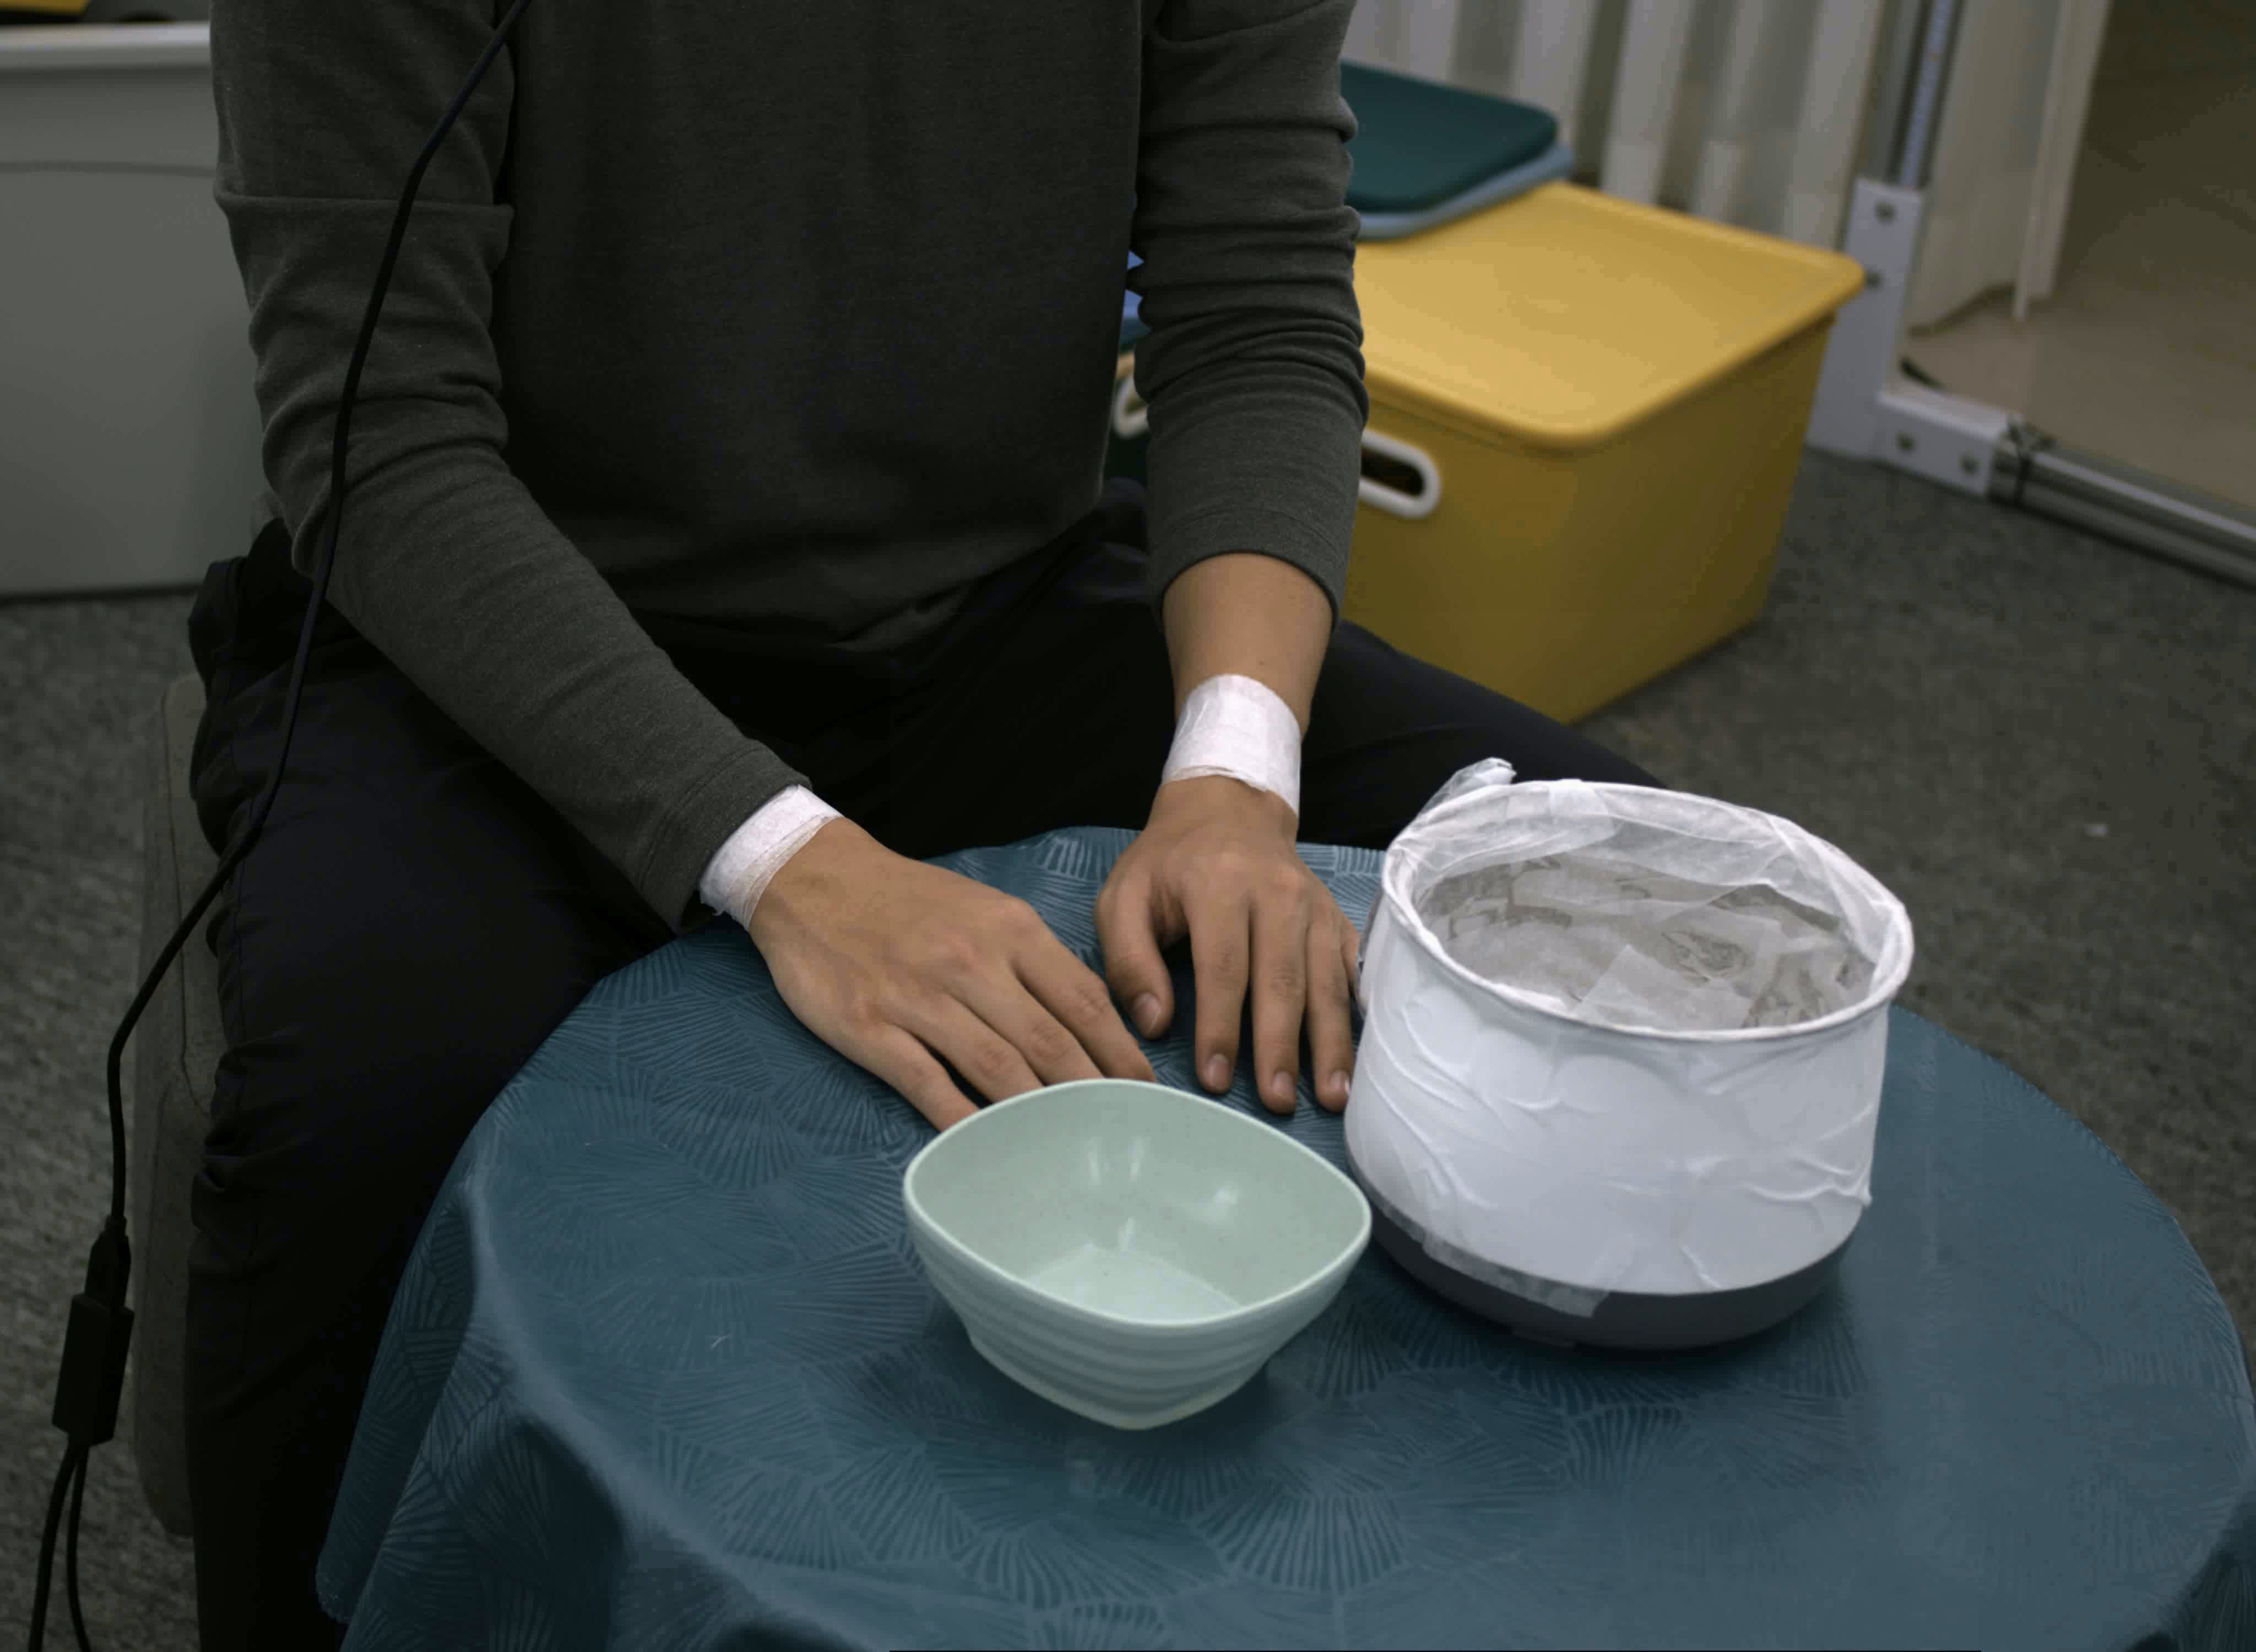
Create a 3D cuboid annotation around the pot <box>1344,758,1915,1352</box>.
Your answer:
[{"bbox_3d":[0.151,0.070,1.797,0.177,0.136,0.236,-8,30,-27],"label":"pot"}]

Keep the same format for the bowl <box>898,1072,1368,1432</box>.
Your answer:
[{"bbox_3d":[-0.001,0.143,1.705,0.151,0.058,0.152,6,28,-4],"label":"bowl"}]
